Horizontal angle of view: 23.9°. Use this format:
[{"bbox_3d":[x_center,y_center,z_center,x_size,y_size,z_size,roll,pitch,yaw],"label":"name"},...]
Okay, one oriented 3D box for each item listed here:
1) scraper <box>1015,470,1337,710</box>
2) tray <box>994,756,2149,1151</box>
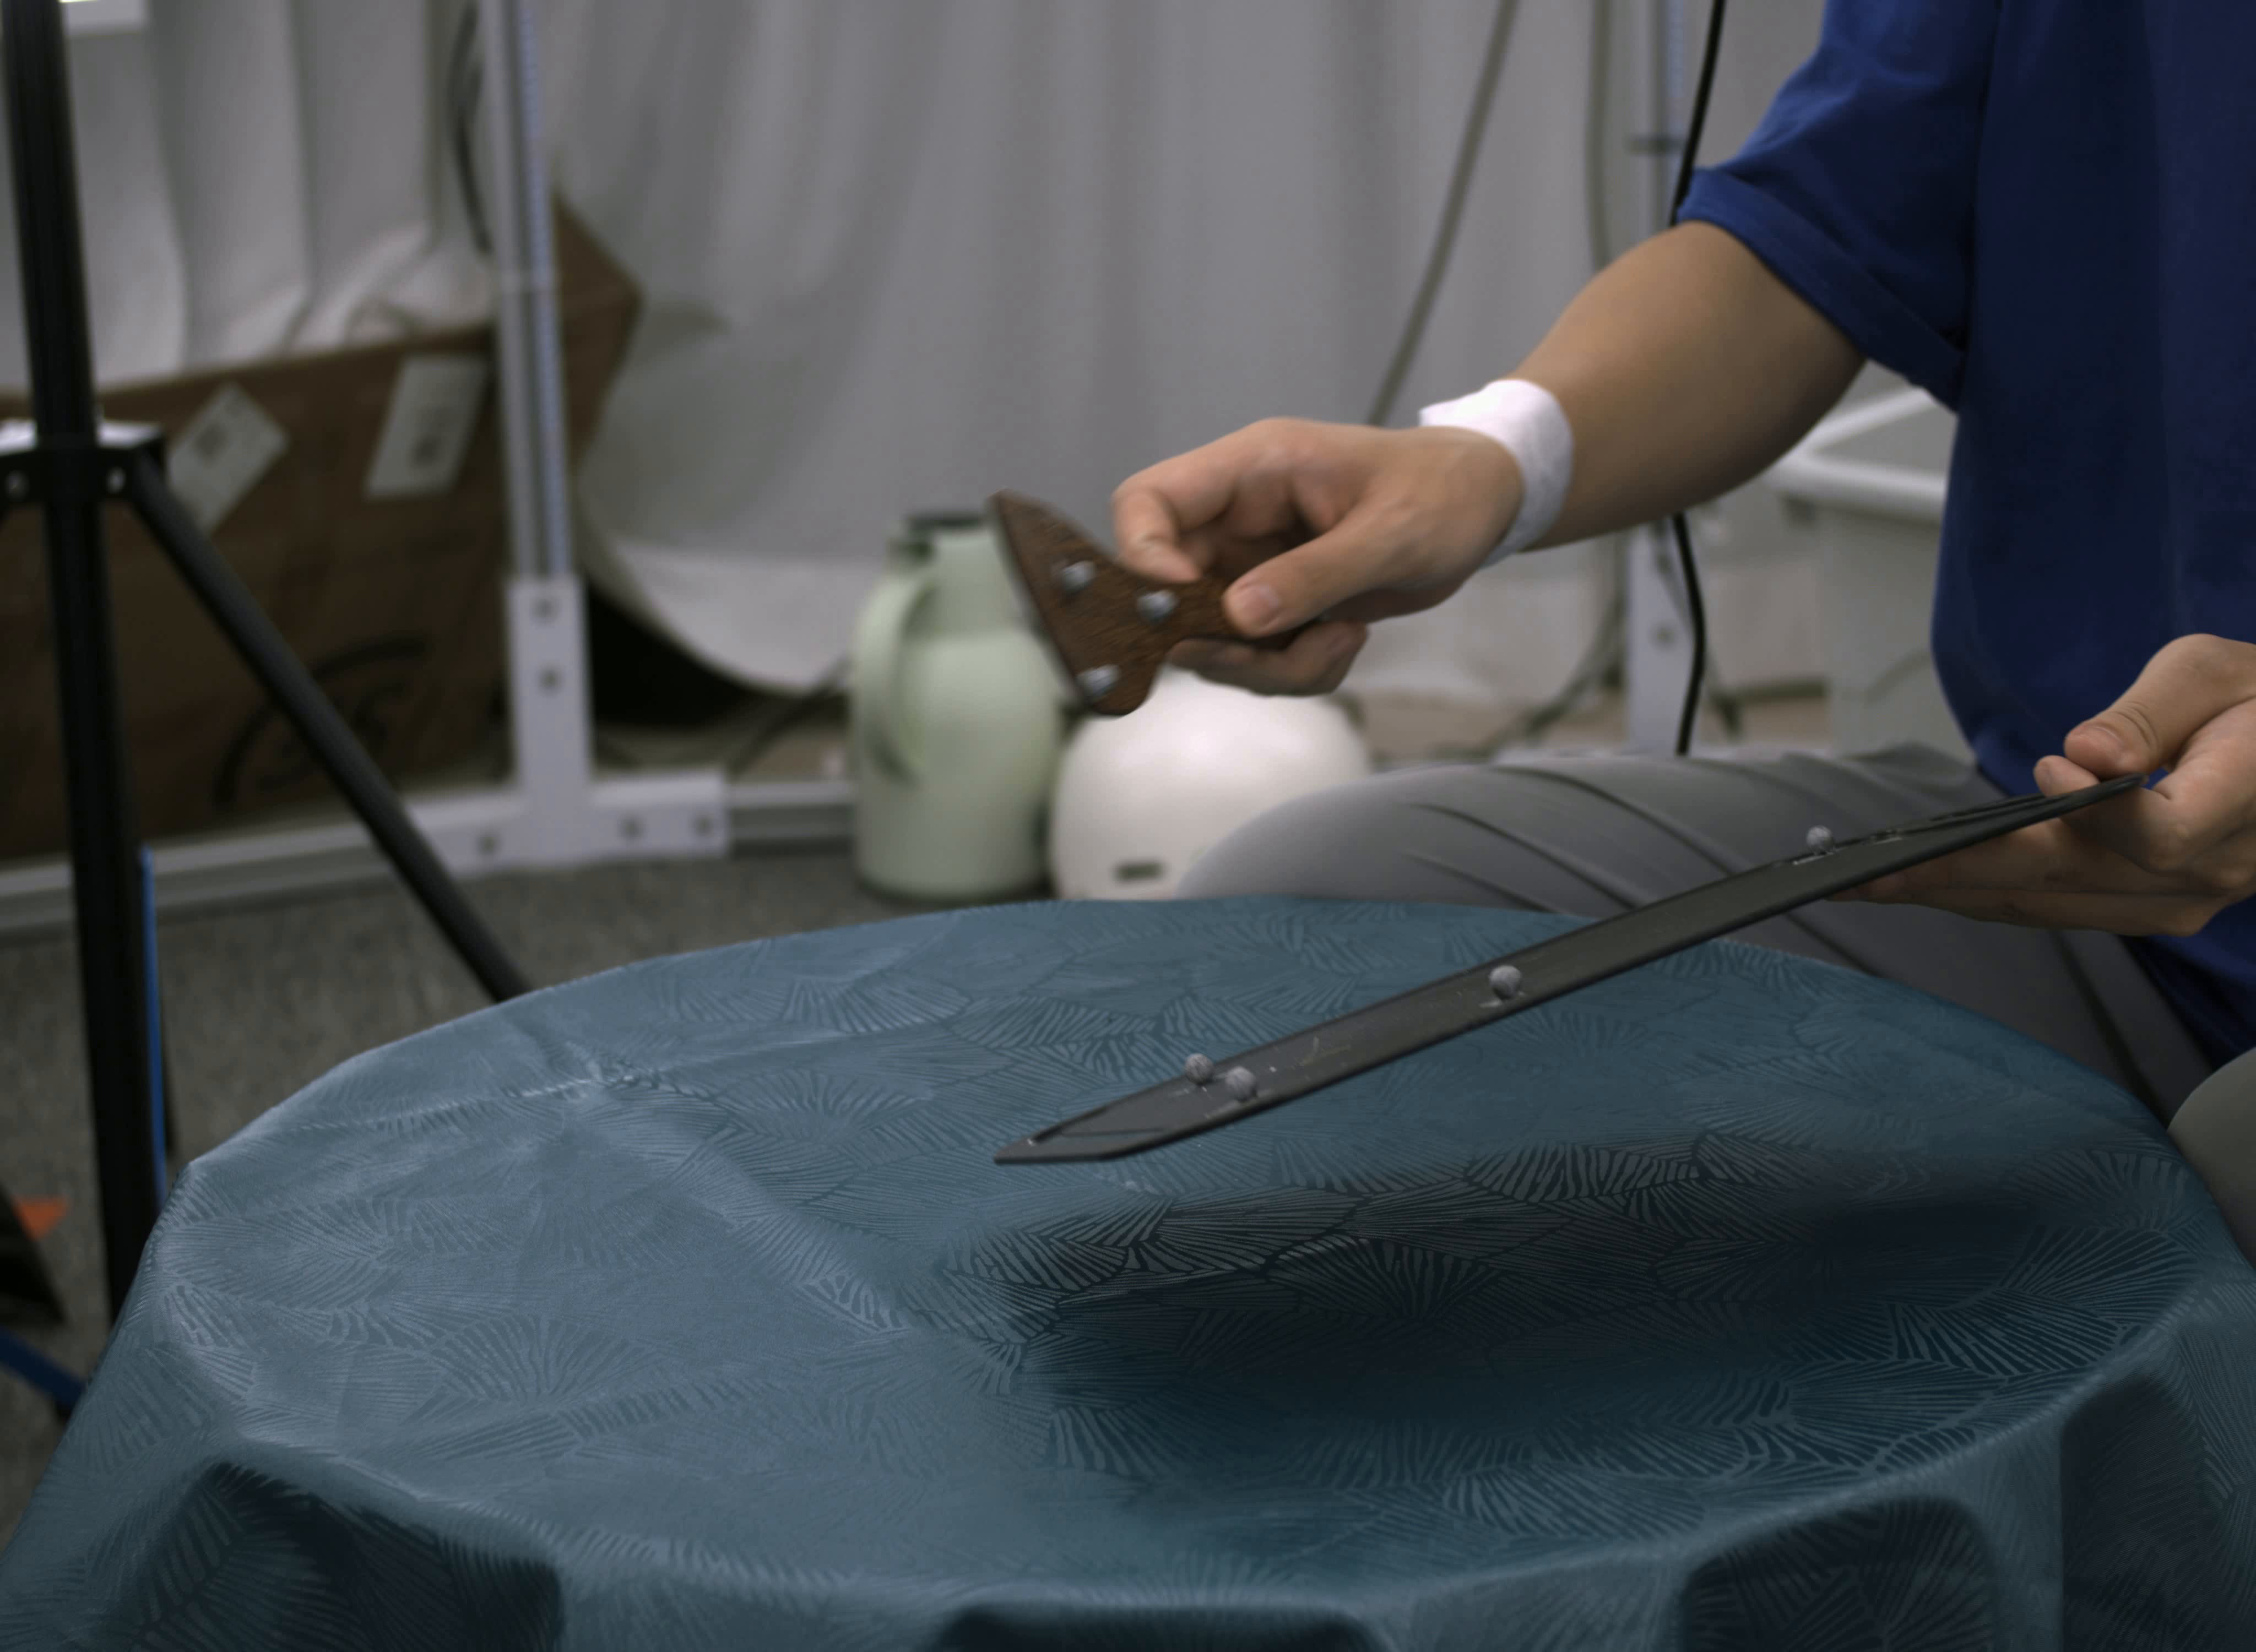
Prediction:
[{"bbox_3d":[0.020,-0.069,1.623,0.011,0.076,0.207,-29,-11,22],"label":"scraper"},{"bbox_3d":[0.125,0.034,1.464,0.321,0.010,0.213,-19,0,-13],"label":"tray"}]
